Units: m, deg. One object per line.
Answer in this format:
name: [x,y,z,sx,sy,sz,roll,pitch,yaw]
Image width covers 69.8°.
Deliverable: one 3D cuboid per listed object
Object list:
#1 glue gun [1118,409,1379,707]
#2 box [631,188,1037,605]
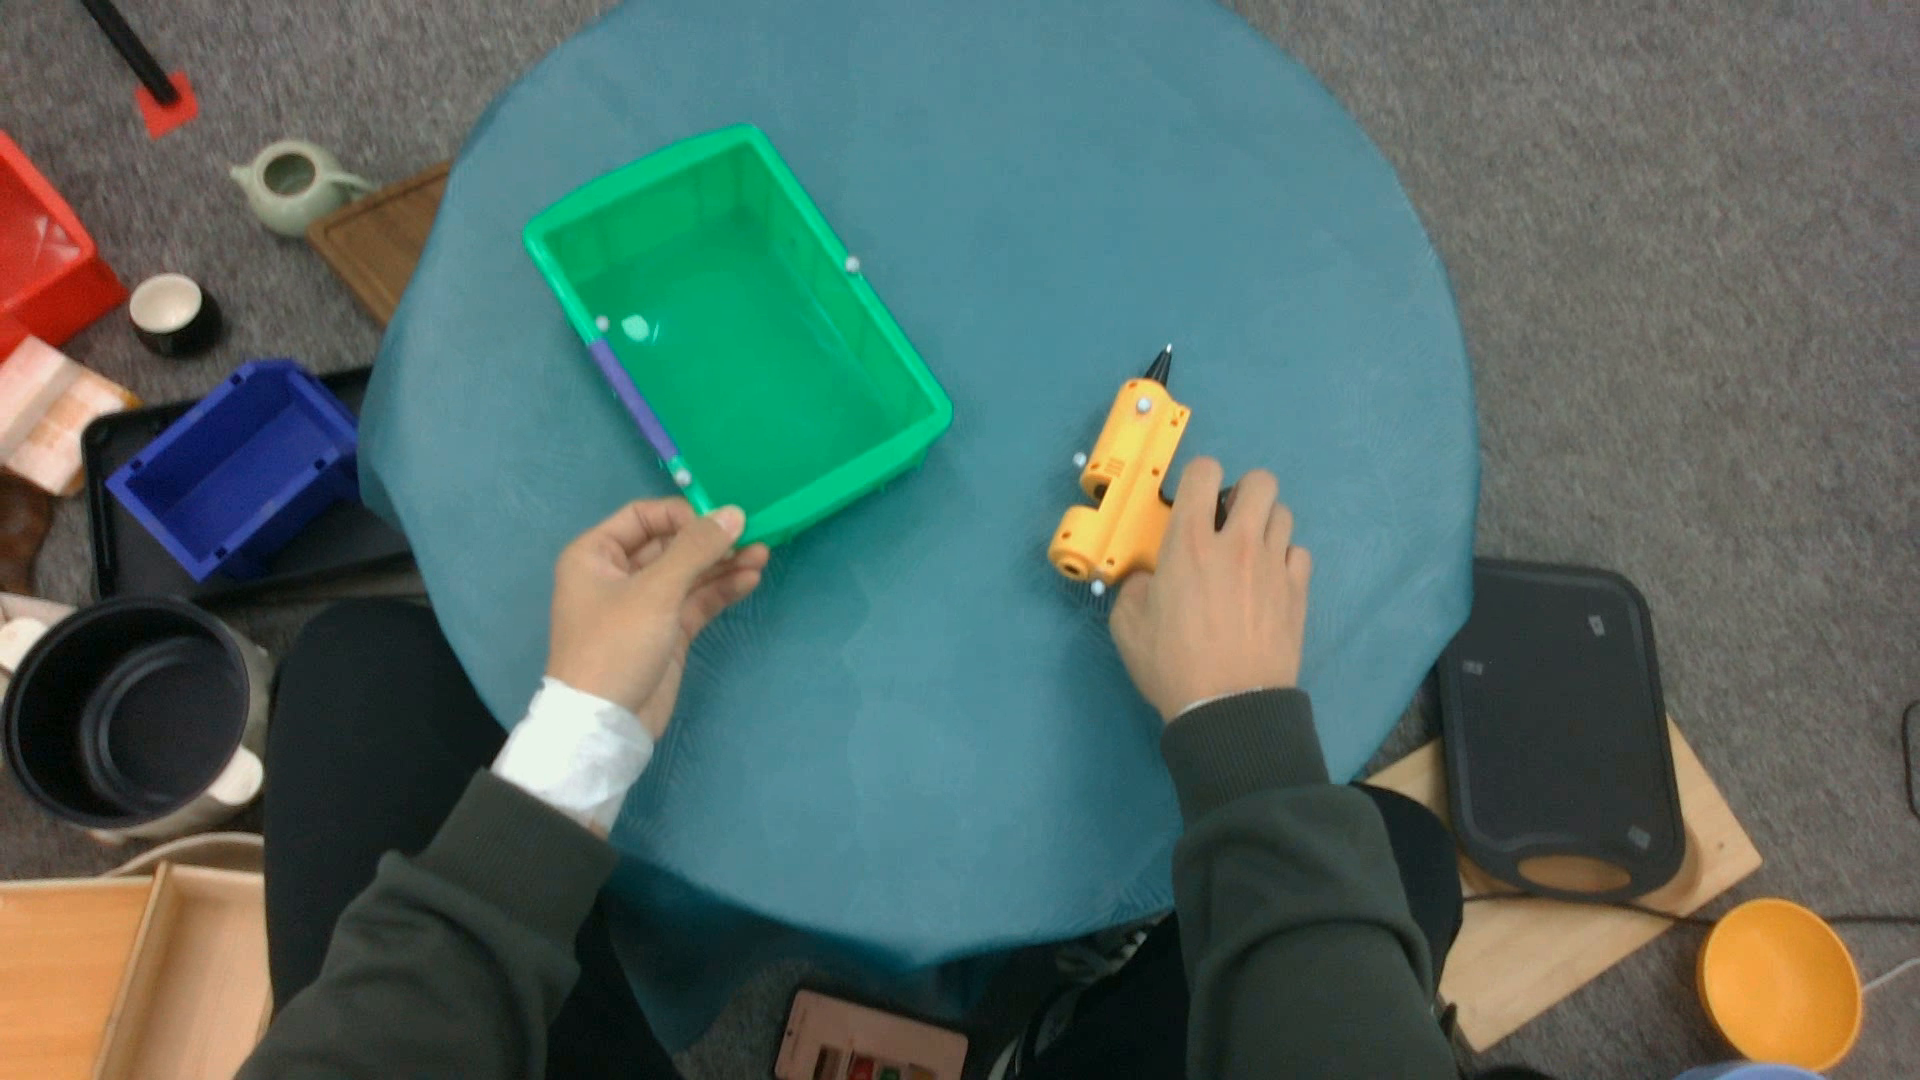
glue gun: [0.170,0.001,0.740,0.133,0.031,0.152,21,64,7]
box: [-0.068,-0.074,0.737,0.139,0.065,0.211,-30,75,-14]
